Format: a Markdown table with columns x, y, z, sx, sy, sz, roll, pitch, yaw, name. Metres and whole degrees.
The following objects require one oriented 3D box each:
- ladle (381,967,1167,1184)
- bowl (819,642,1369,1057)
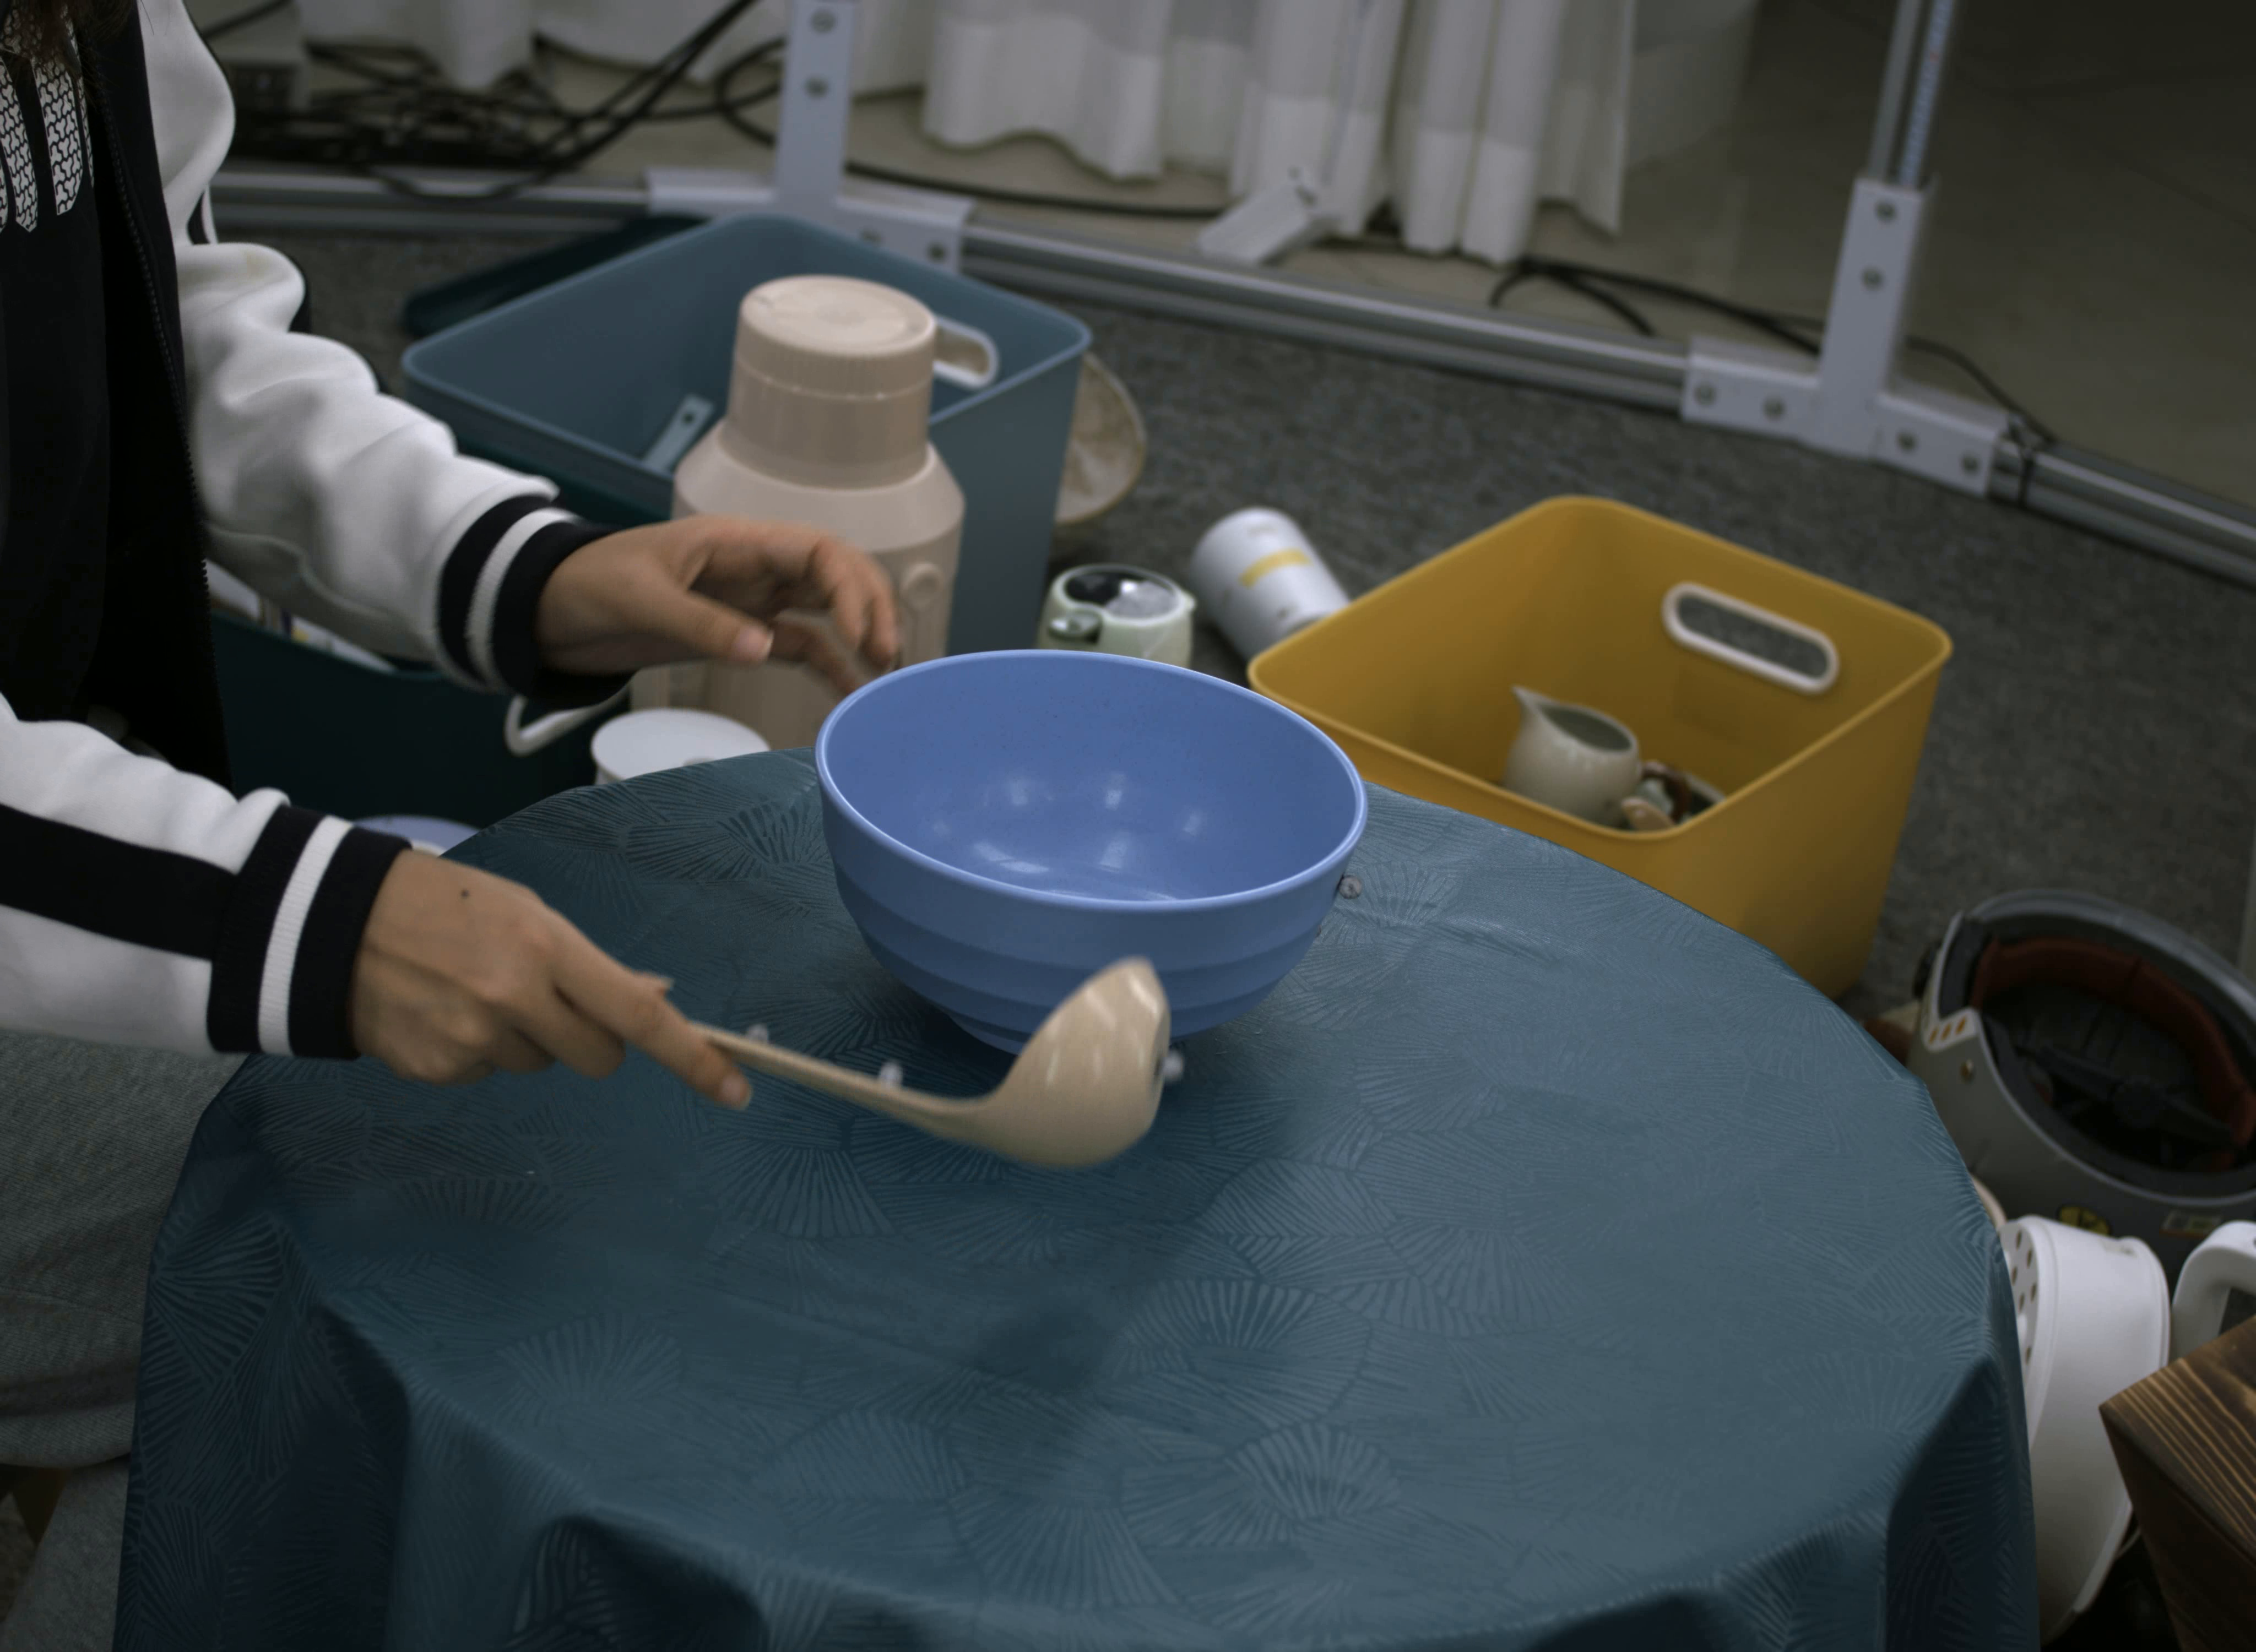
| x | y | z | sx | sy | sz | roll | pitch | yaw | name |
| --- | --- | --- | --- | --- | --- | --- | --- | --- | --- |
| -0.111 | 0.054 | 1.723 | 0.254 | 0.072 | 0.073 | 16 | 63 | 11 | ladle |
| -0.018 | 0.020 | 1.894 | 0.196 | 0.095 | 0.197 | 7 | 27 | -4 | bowl |
